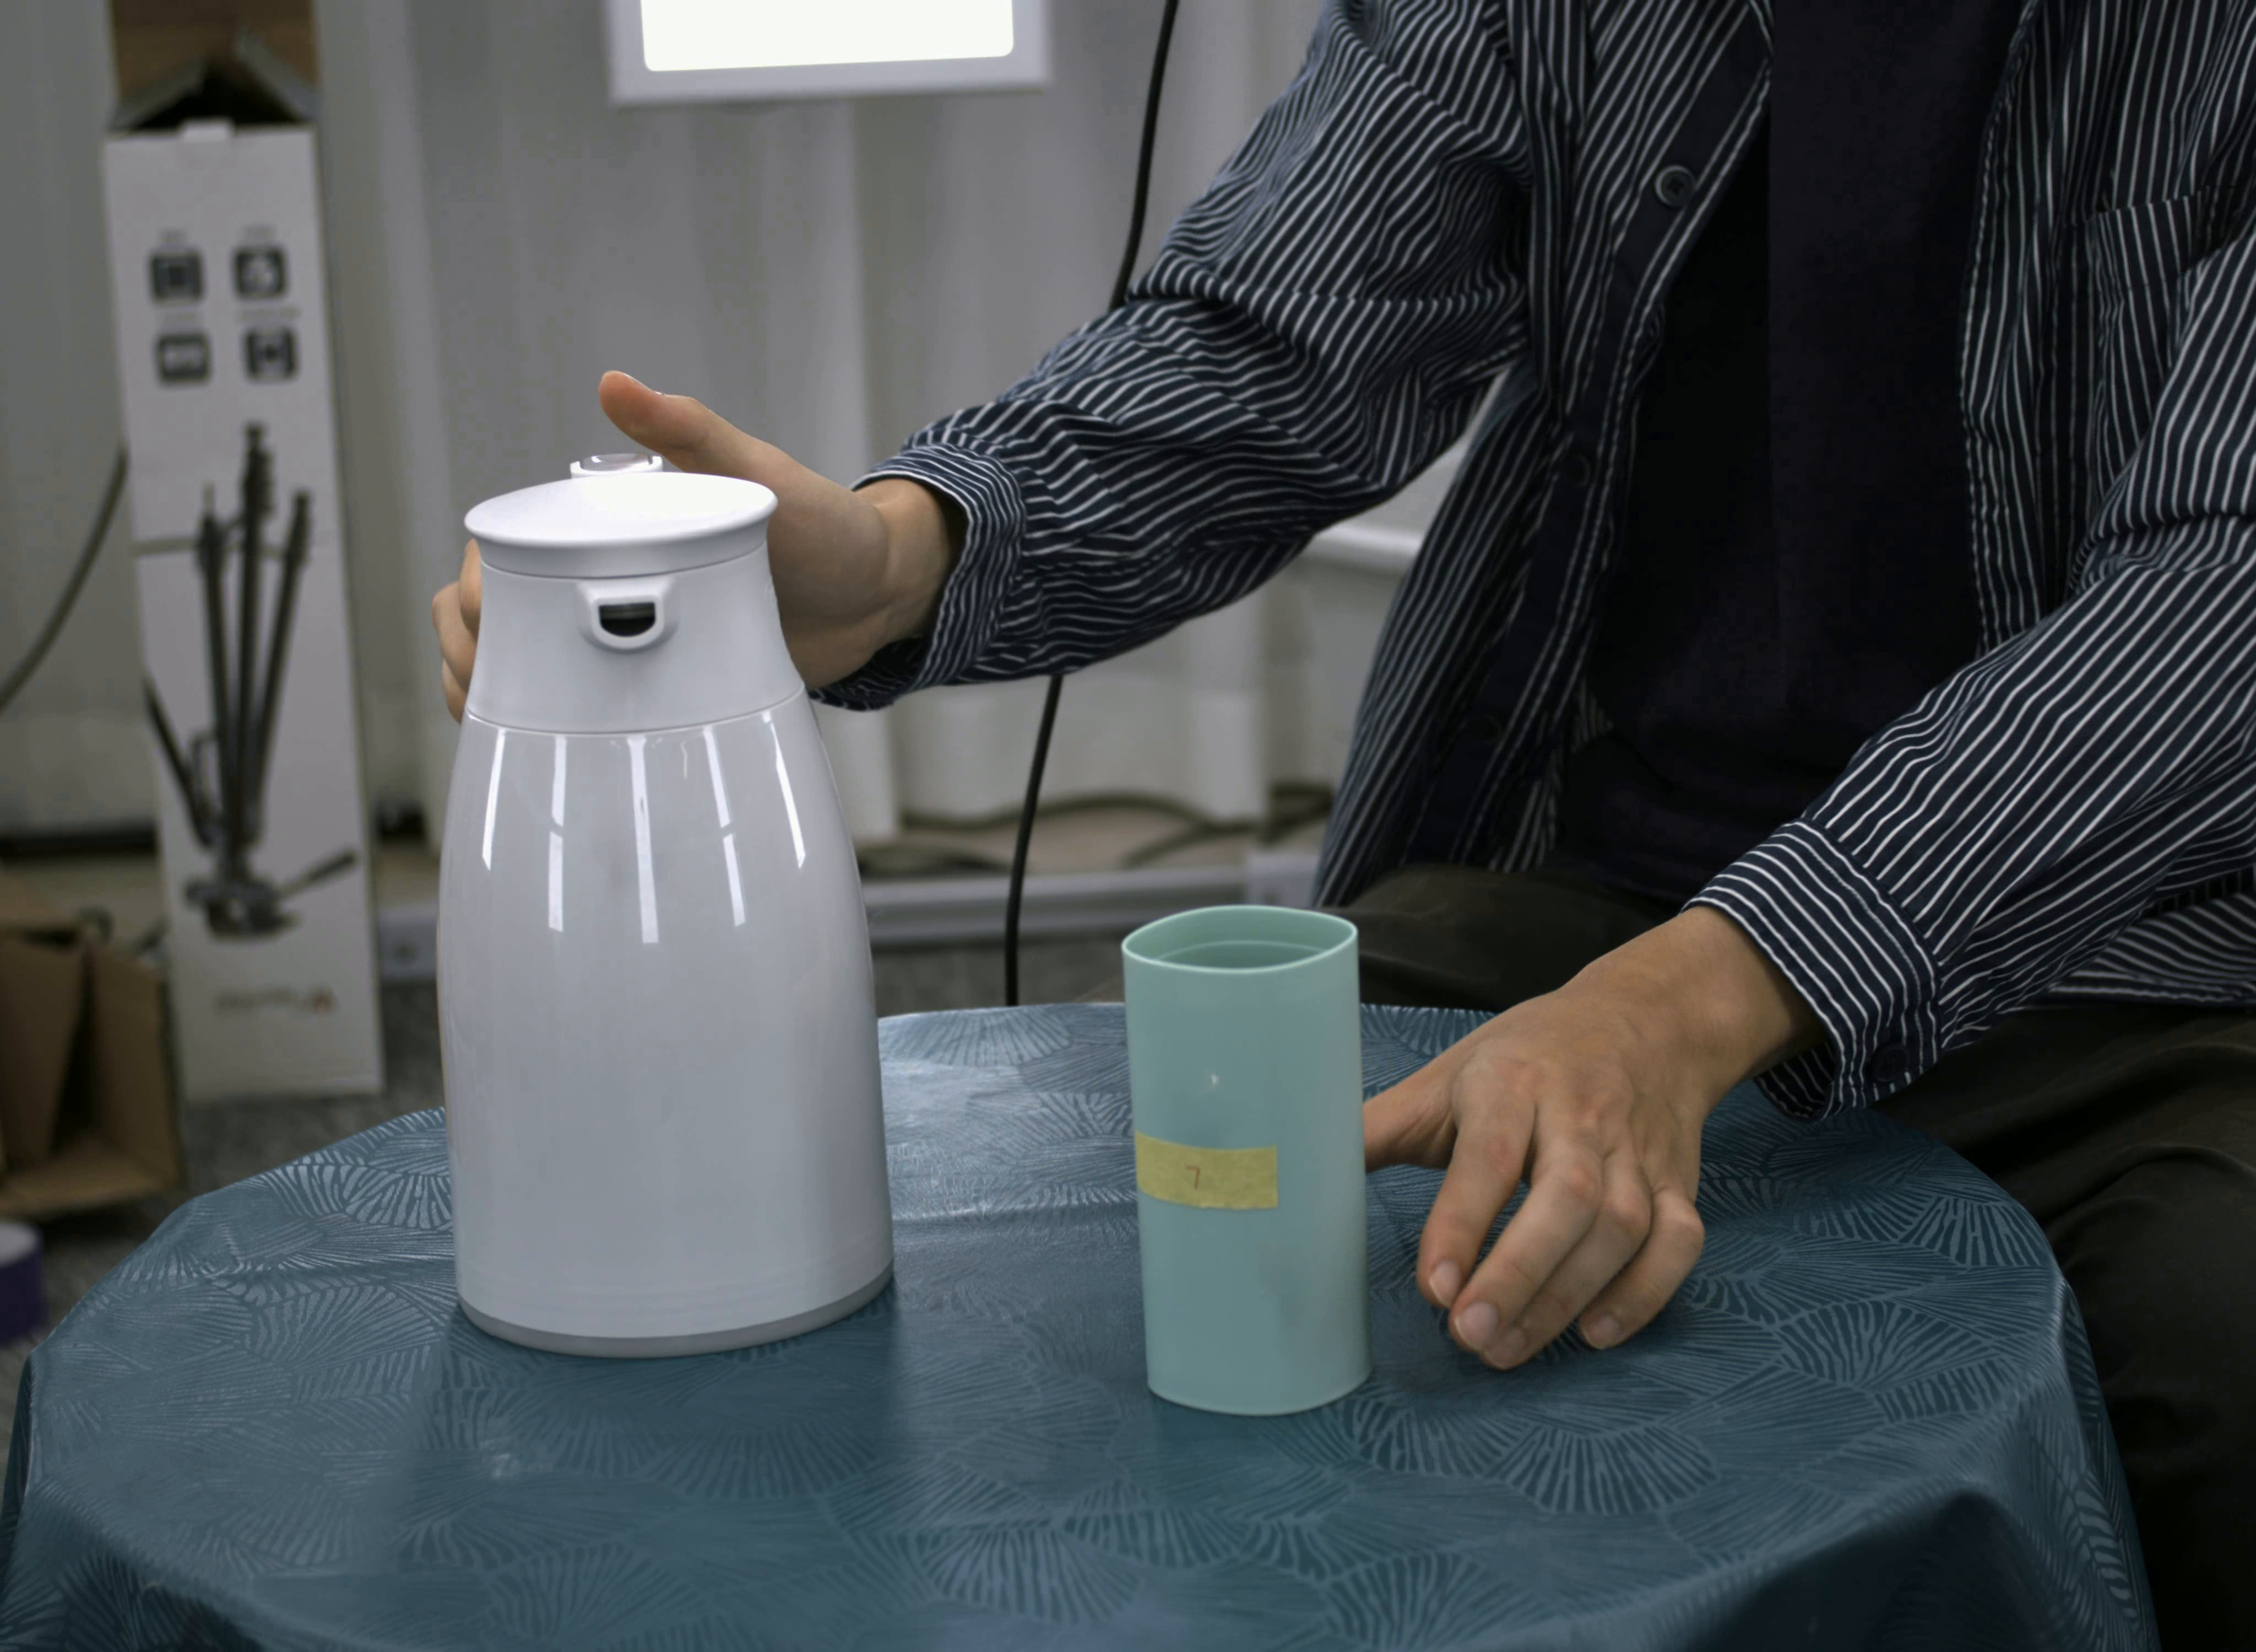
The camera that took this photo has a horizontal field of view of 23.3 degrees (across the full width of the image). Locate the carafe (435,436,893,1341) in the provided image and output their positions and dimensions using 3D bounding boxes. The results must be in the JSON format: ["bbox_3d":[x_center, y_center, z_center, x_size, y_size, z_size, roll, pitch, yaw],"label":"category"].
[{"bbox_3d":[-0.147,0.010,1.644,0.132,0.248,0.169,-6,13,-8],"label":"carafe"}]

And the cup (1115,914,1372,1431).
[{"bbox_3d":[0.034,0.096,1.536,0.066,0.132,0.067,-4,15,1],"label":"cup"}]
